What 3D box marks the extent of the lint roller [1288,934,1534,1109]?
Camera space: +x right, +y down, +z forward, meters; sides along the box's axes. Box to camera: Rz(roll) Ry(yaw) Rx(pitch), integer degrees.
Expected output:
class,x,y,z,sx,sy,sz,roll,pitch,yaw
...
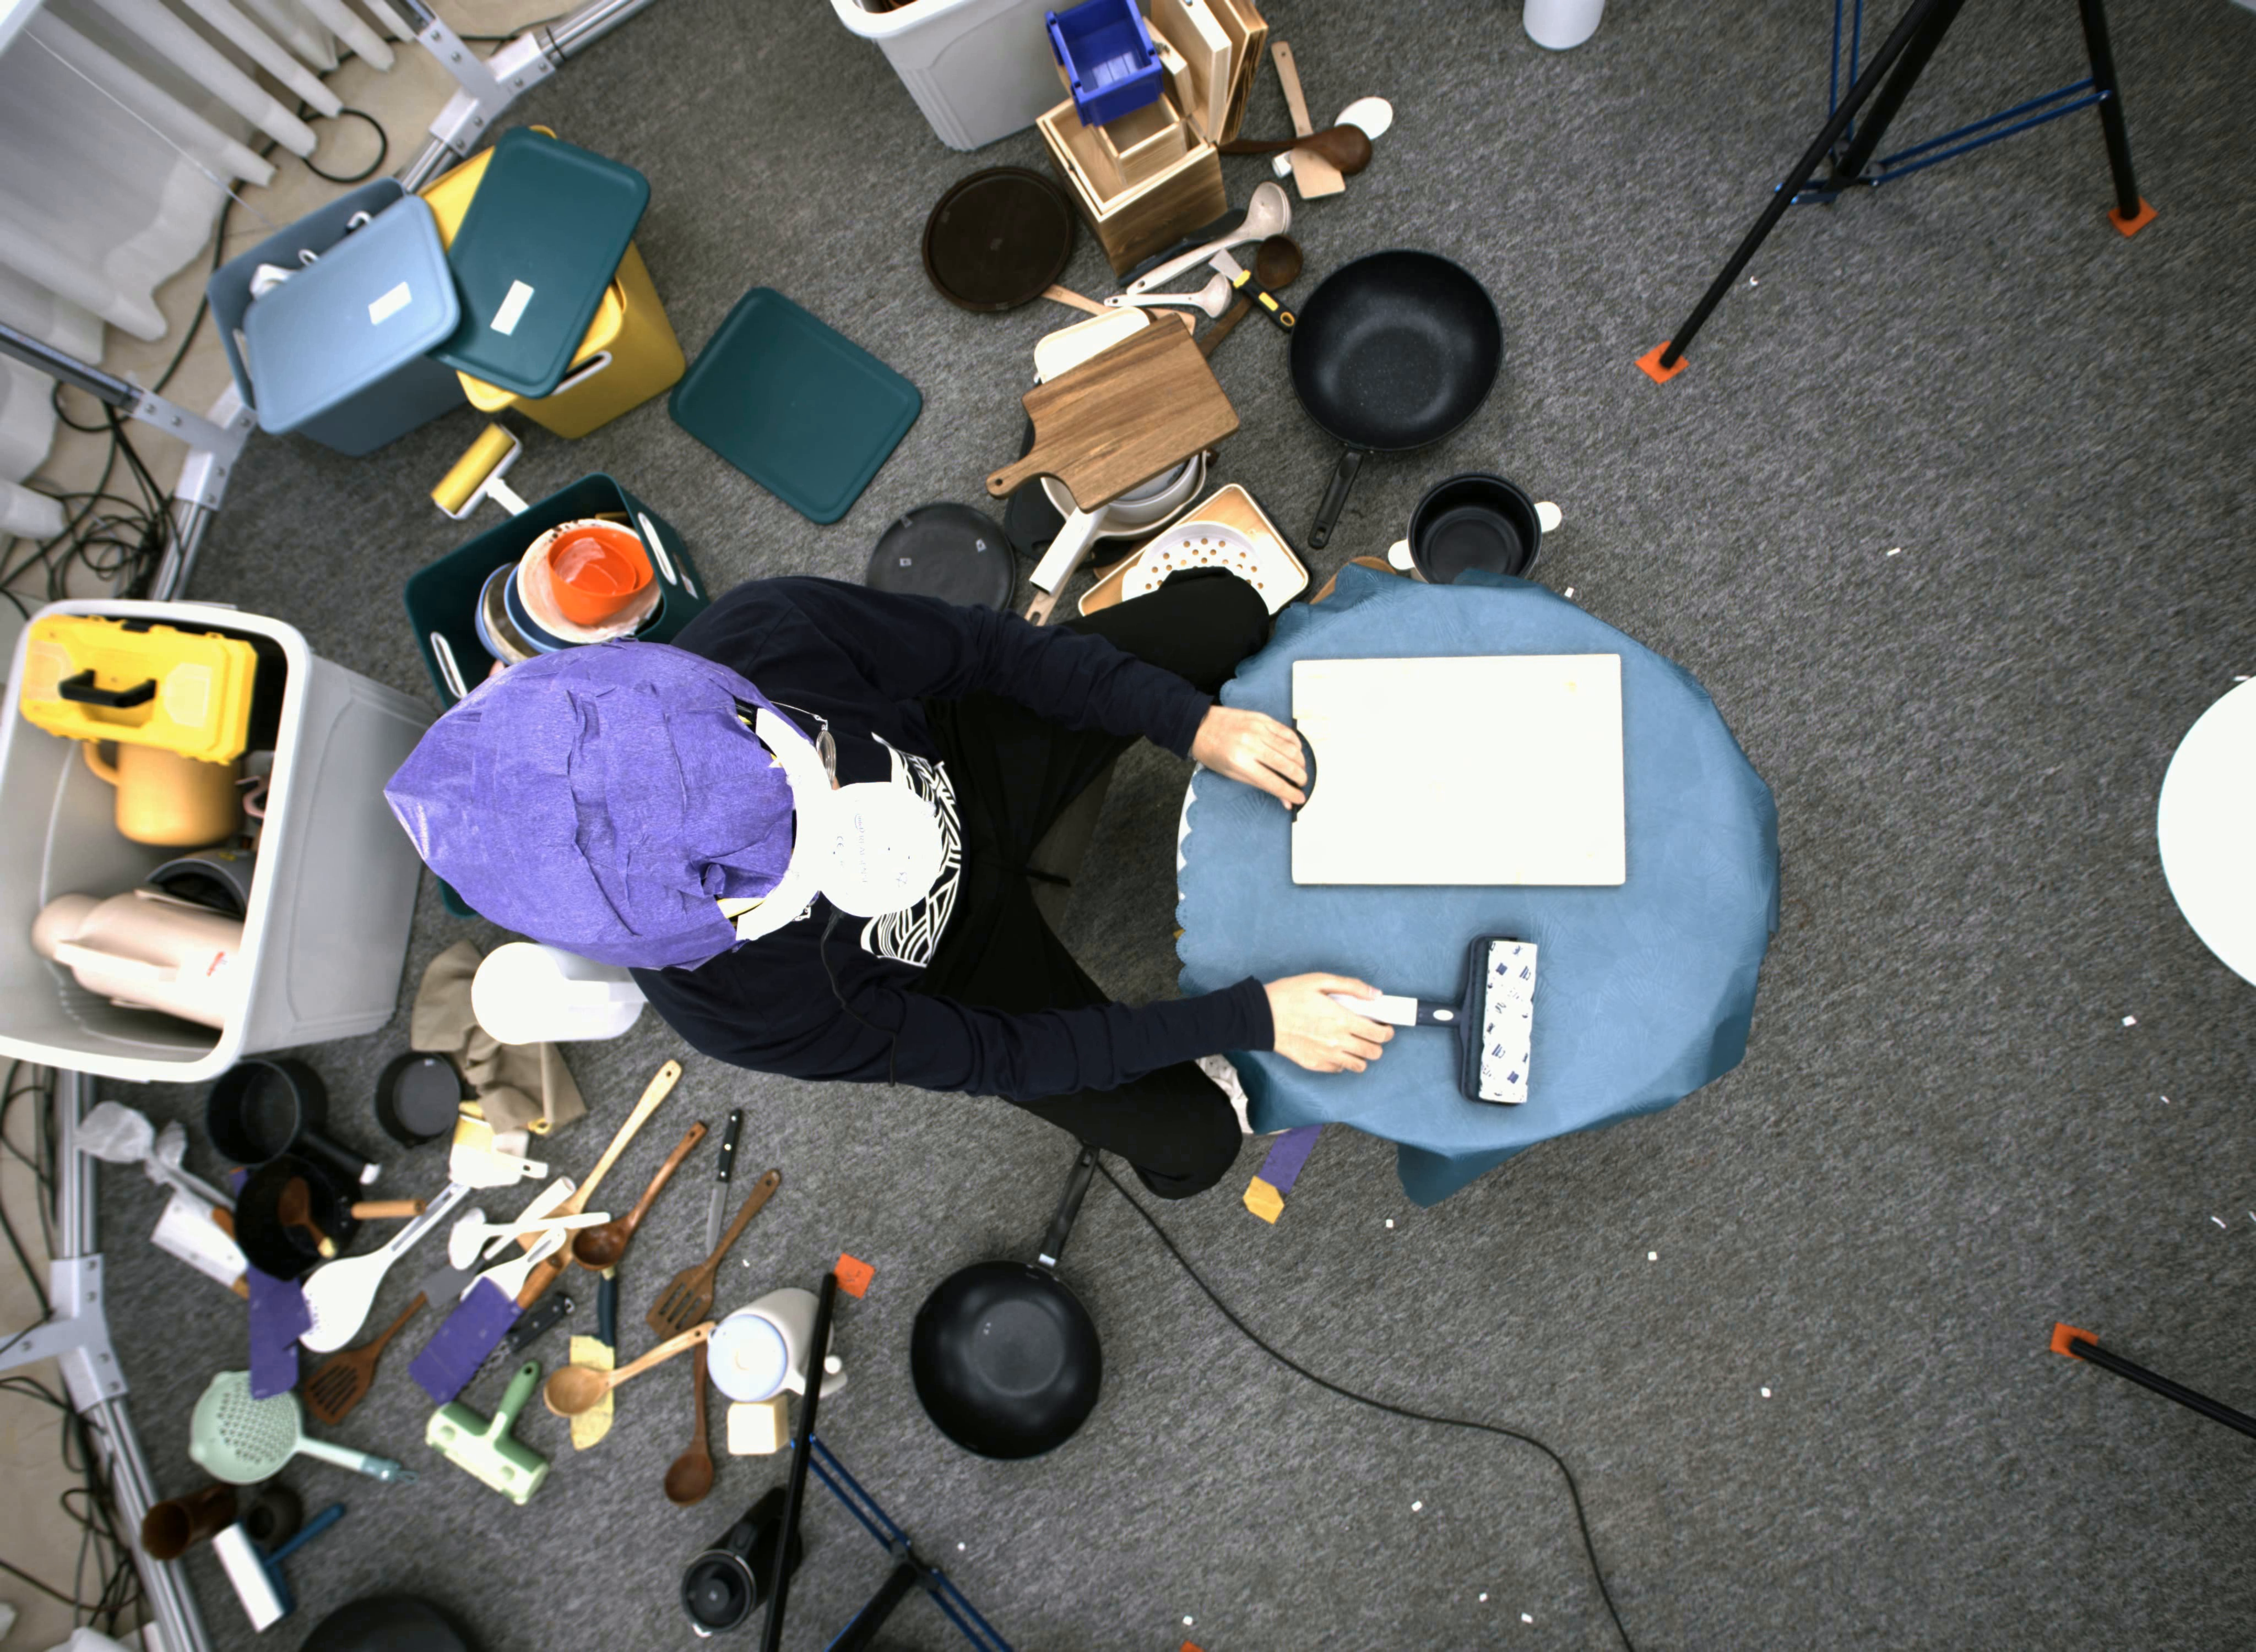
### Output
class,x,y,z,sx,sy,sz,roll,pitch,yaw
lint roller,0.288,0.191,1.429,0.248,0.050,0.176,3,88,13

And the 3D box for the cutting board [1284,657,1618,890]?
class,x,y,z,sx,sy,sz,roll,pitch,yaw
cutting board,0.338,-0.060,1.447,0.350,0.023,0.249,-1,86,11
